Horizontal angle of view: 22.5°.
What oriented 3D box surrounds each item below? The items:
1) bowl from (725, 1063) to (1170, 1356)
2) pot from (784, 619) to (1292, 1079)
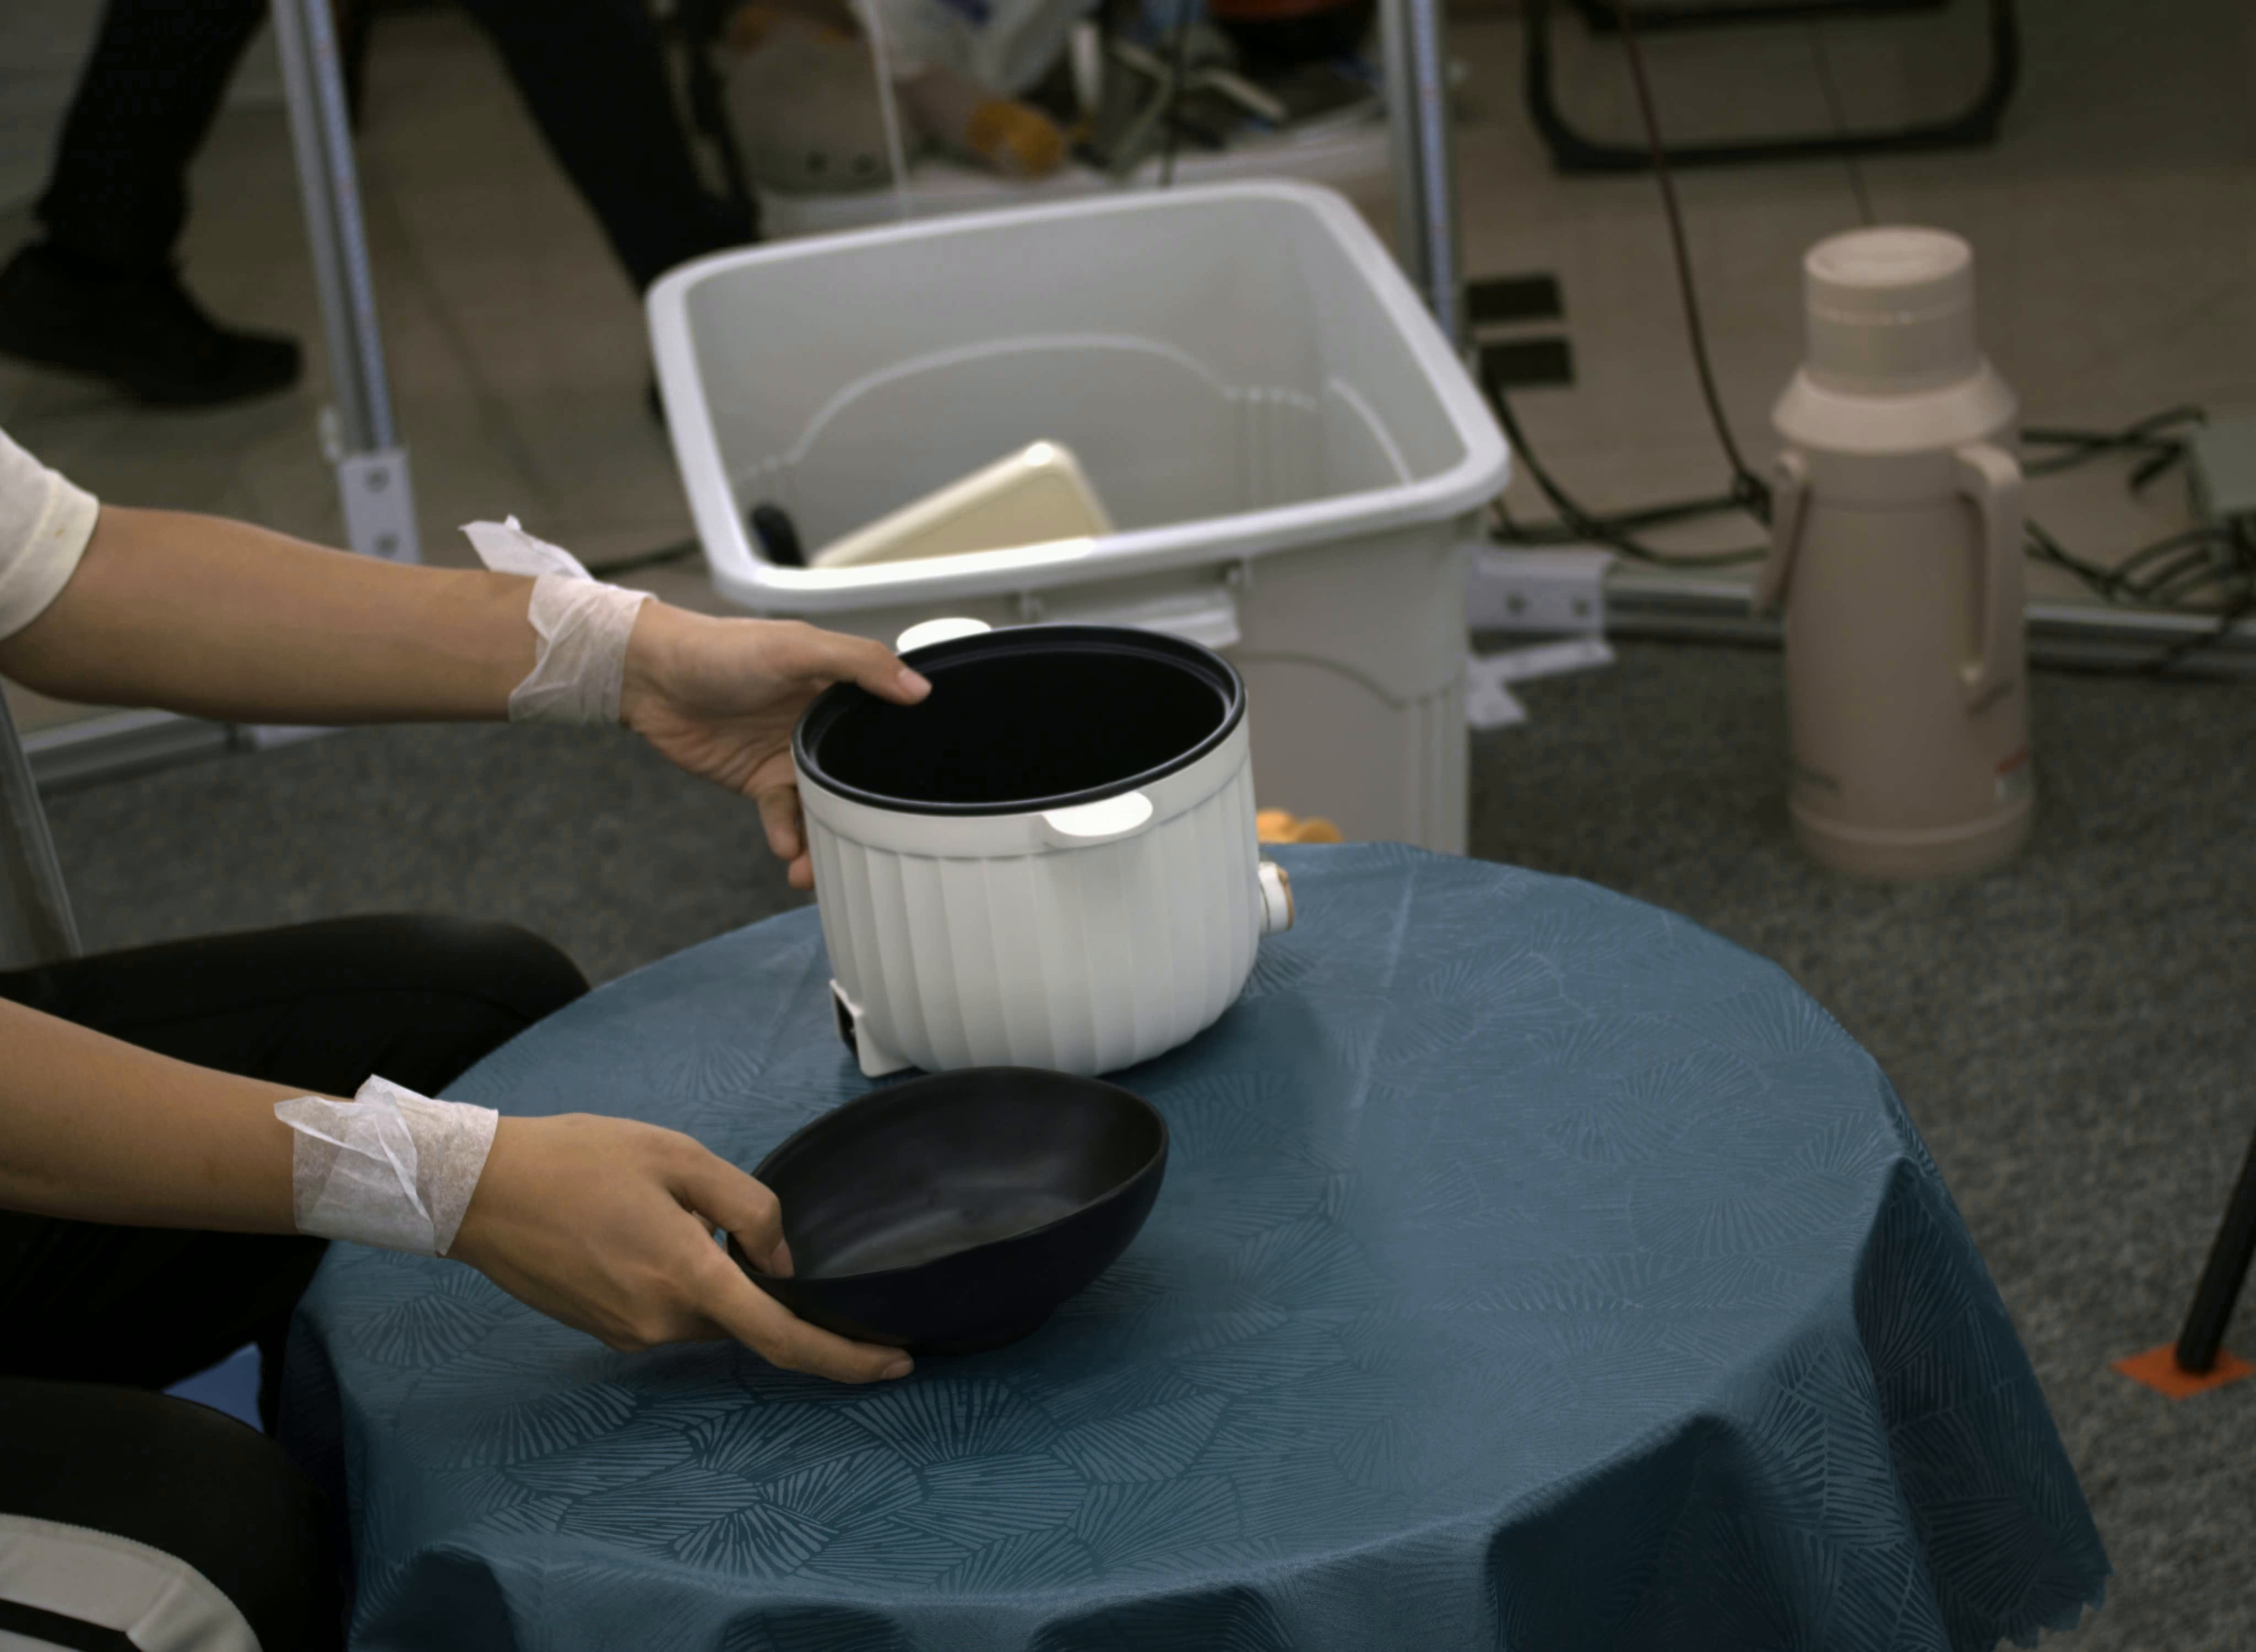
[{"bbox_3d":[-0.062,0.149,2.068,0.169,0.068,0.136,-20,27,-24],"label":"bowl"},{"bbox_3d":[-0.033,0.013,2.264,0.190,0.145,0.237,-17,28,-14],"label":"pot"}]
